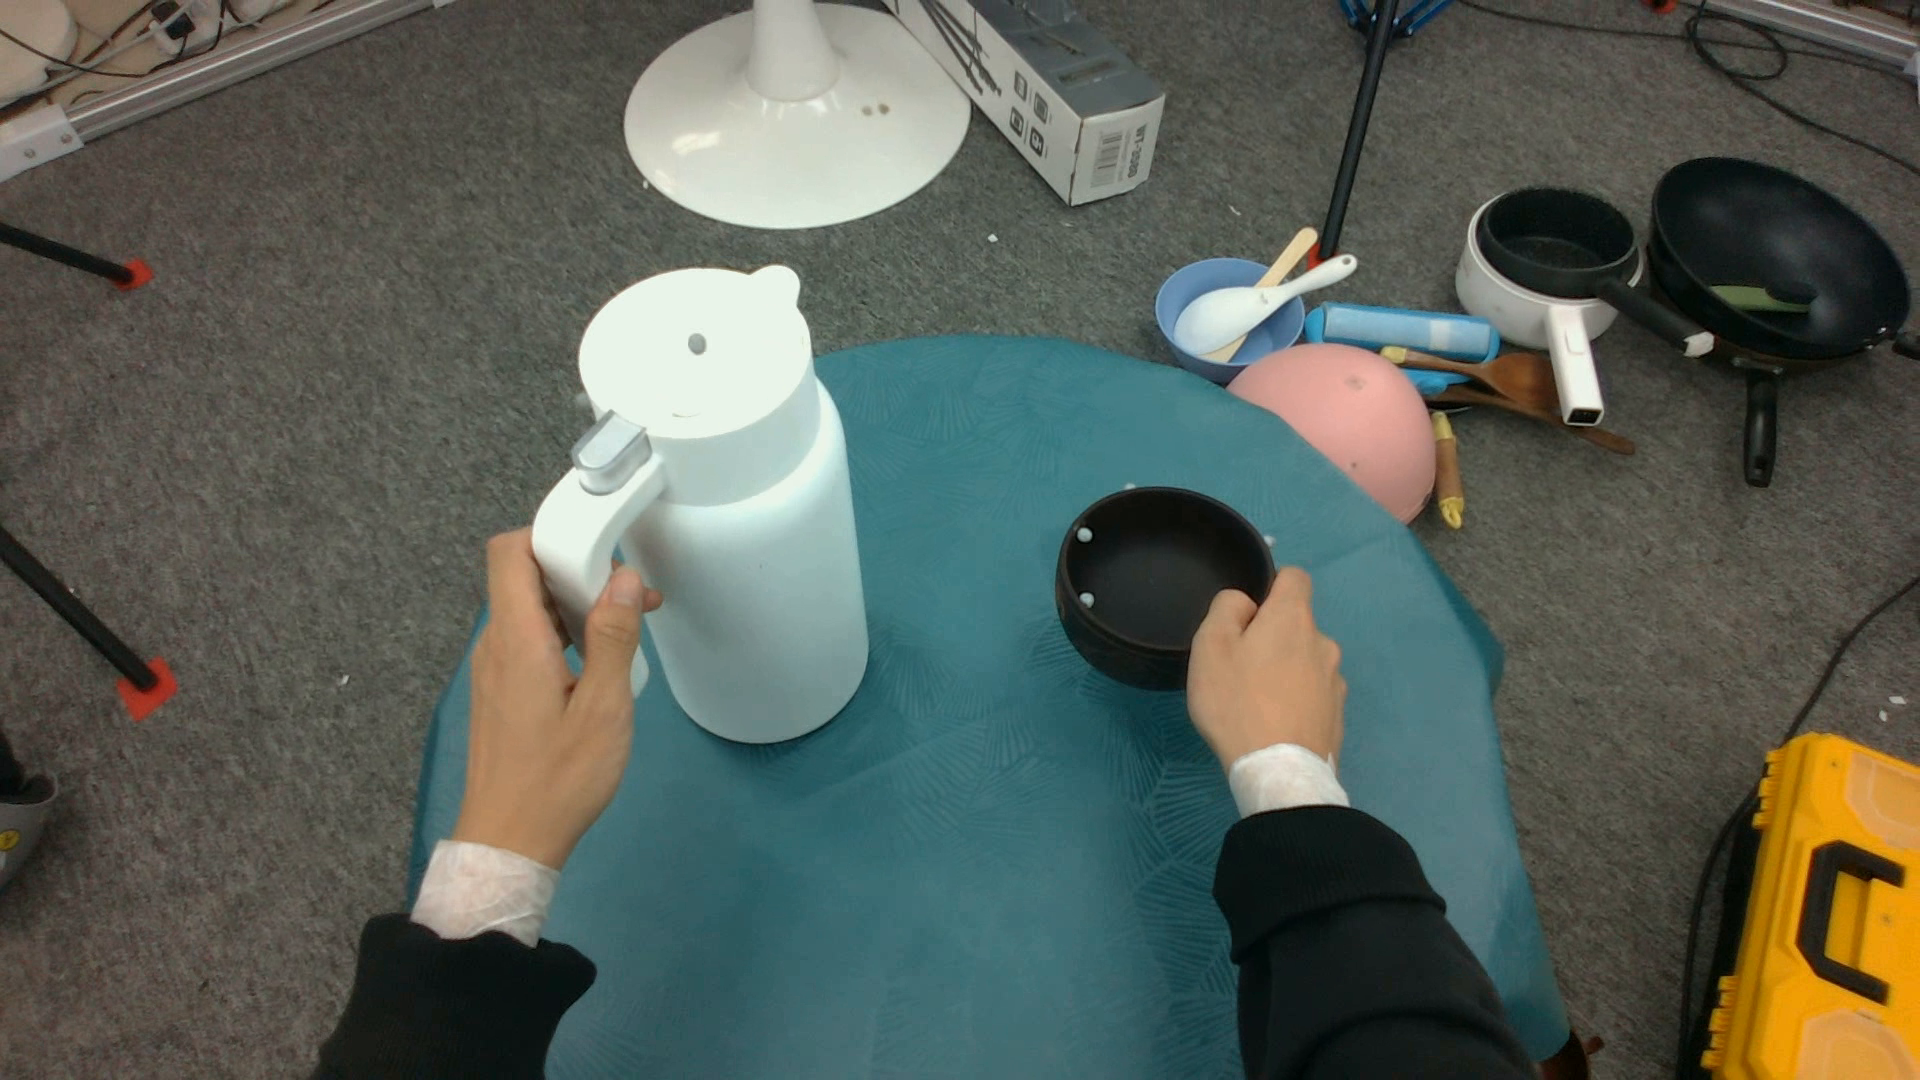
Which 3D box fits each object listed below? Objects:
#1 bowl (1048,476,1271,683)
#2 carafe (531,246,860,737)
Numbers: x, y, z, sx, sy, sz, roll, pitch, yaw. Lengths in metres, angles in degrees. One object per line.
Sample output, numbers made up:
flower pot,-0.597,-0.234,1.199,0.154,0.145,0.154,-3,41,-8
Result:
bowl,0.106,0.029,0.756,0.118,0.069,0.118,1,49,-1
carafe,-0.123,0.003,0.688,0.124,0.267,0.173,25,58,14
